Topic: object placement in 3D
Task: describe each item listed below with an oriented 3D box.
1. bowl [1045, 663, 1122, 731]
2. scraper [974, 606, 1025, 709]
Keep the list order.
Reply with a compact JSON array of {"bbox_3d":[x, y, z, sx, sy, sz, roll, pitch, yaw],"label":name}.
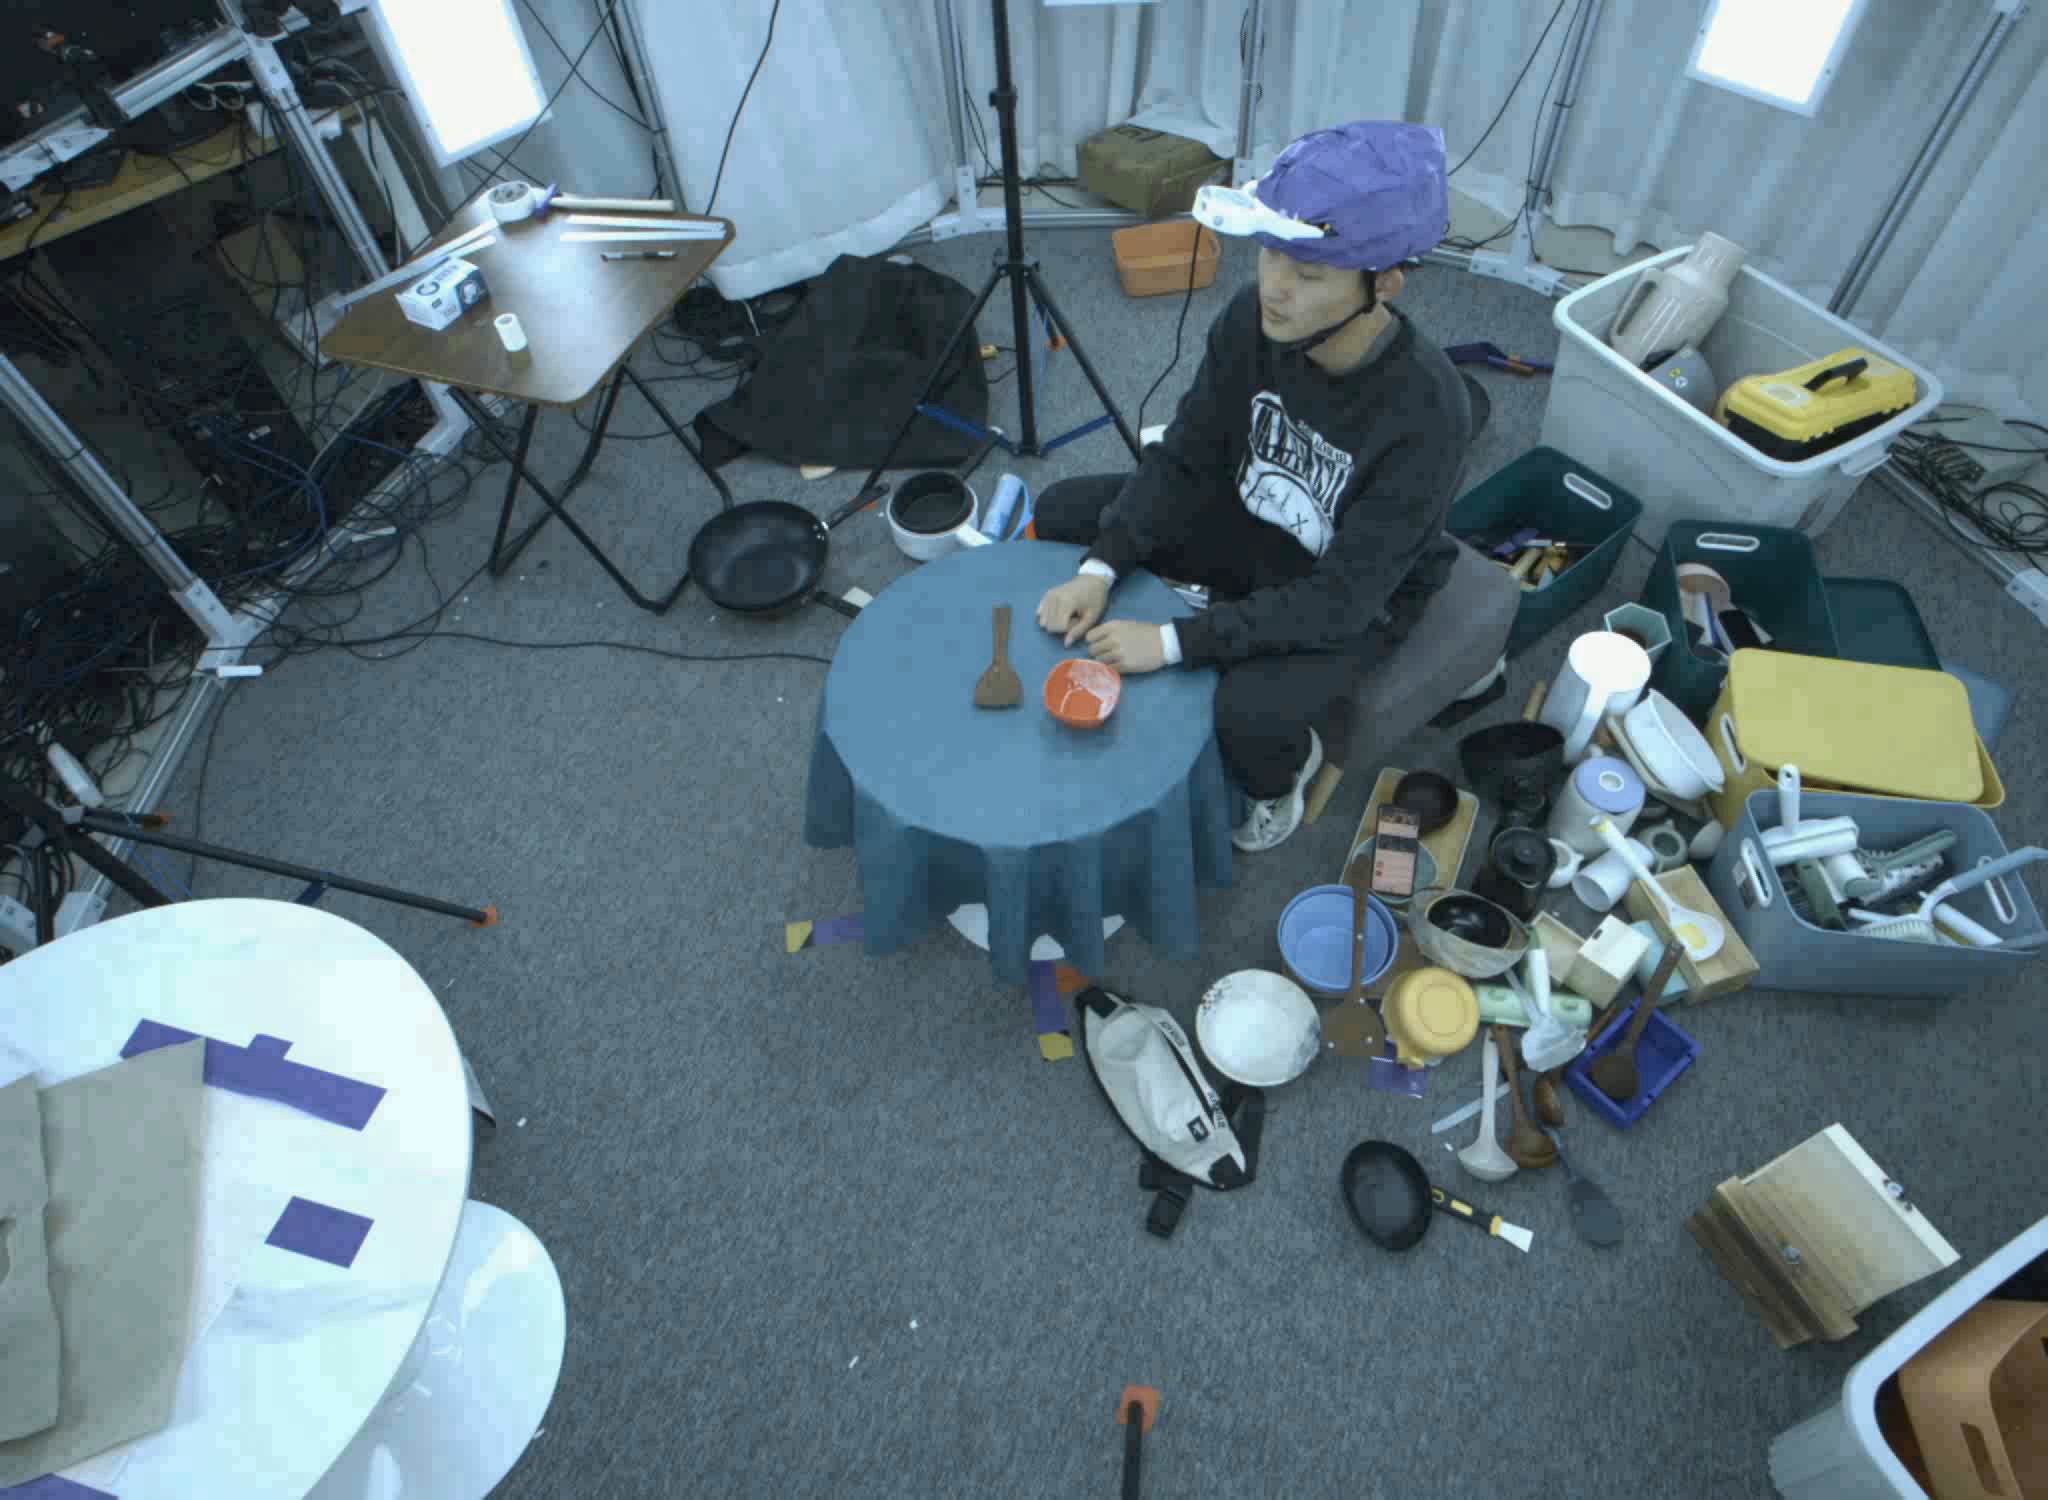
[{"bbox_3d":[0.089,-0.071,1.814,0.118,0.052,0.118,-2,56,4],"label":"bowl"},{"bbox_3d":[-0.035,-0.144,1.895,0.076,0.011,0.209,1,54,1],"label":"scraper"}]
